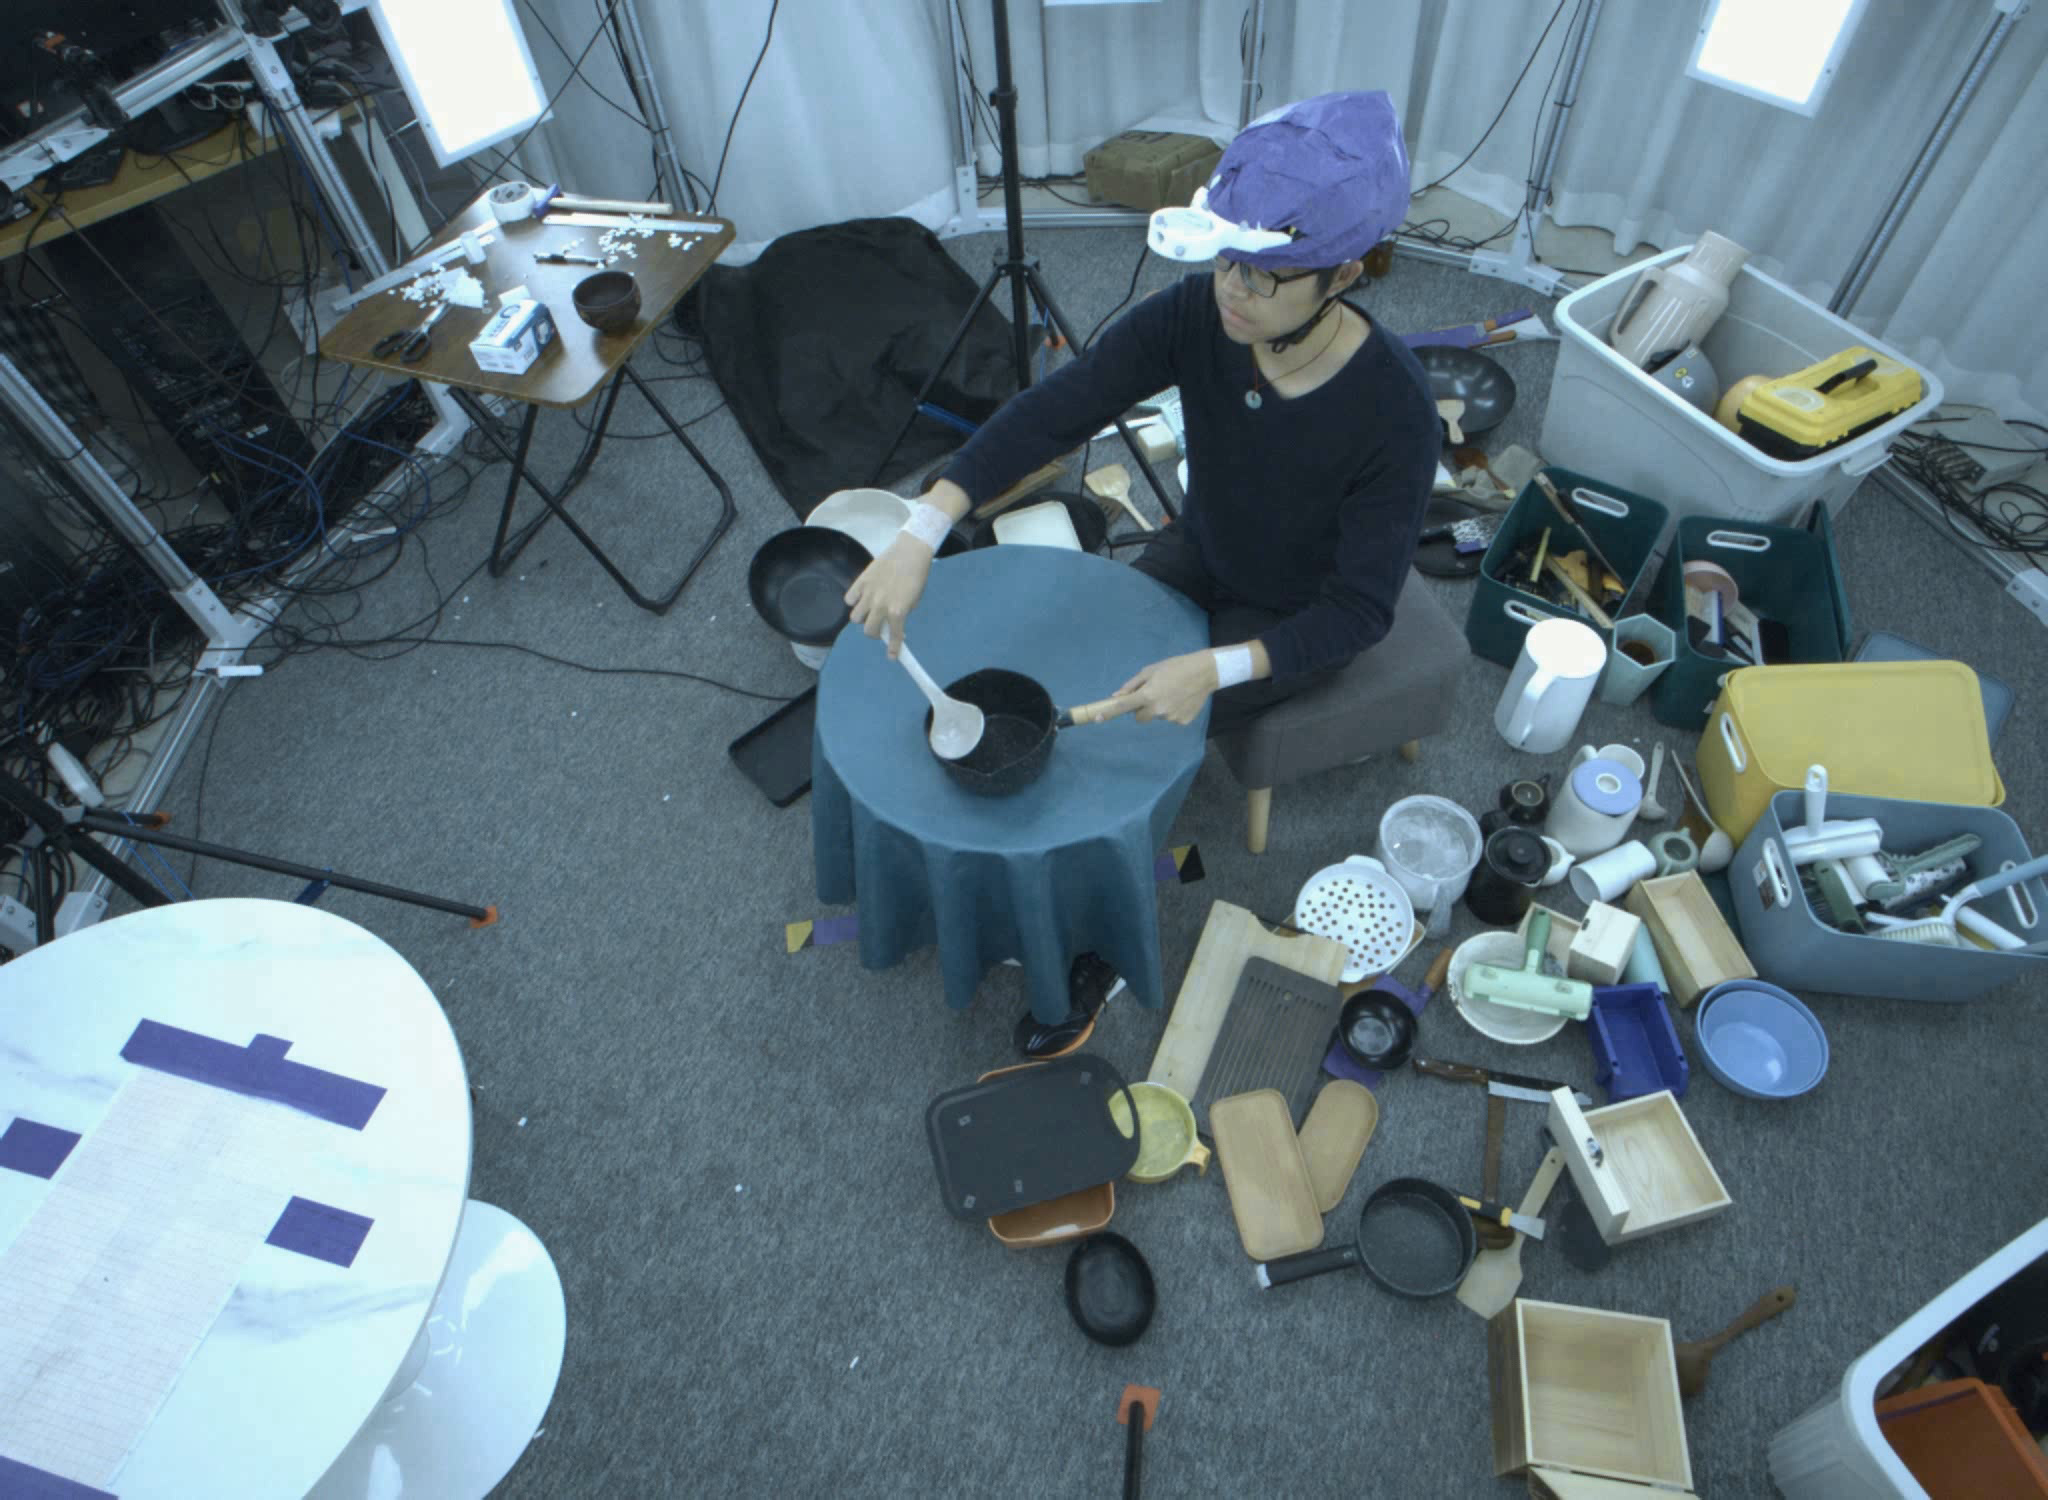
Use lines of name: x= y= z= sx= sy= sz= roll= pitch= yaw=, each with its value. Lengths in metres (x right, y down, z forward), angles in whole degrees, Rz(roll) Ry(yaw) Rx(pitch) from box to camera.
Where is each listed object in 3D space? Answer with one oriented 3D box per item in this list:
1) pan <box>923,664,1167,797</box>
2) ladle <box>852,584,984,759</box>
pan: x=0.033 y=-0.034 z=1.730 sx=0.342 sy=0.110 sz=0.205 roll=-7 pitch=51 yaw=4
ladle: x=-0.156 y=-0.108 z=1.683 sx=0.088 sy=0.279 sz=0.069 roll=-28 pitch=24 yaw=23
